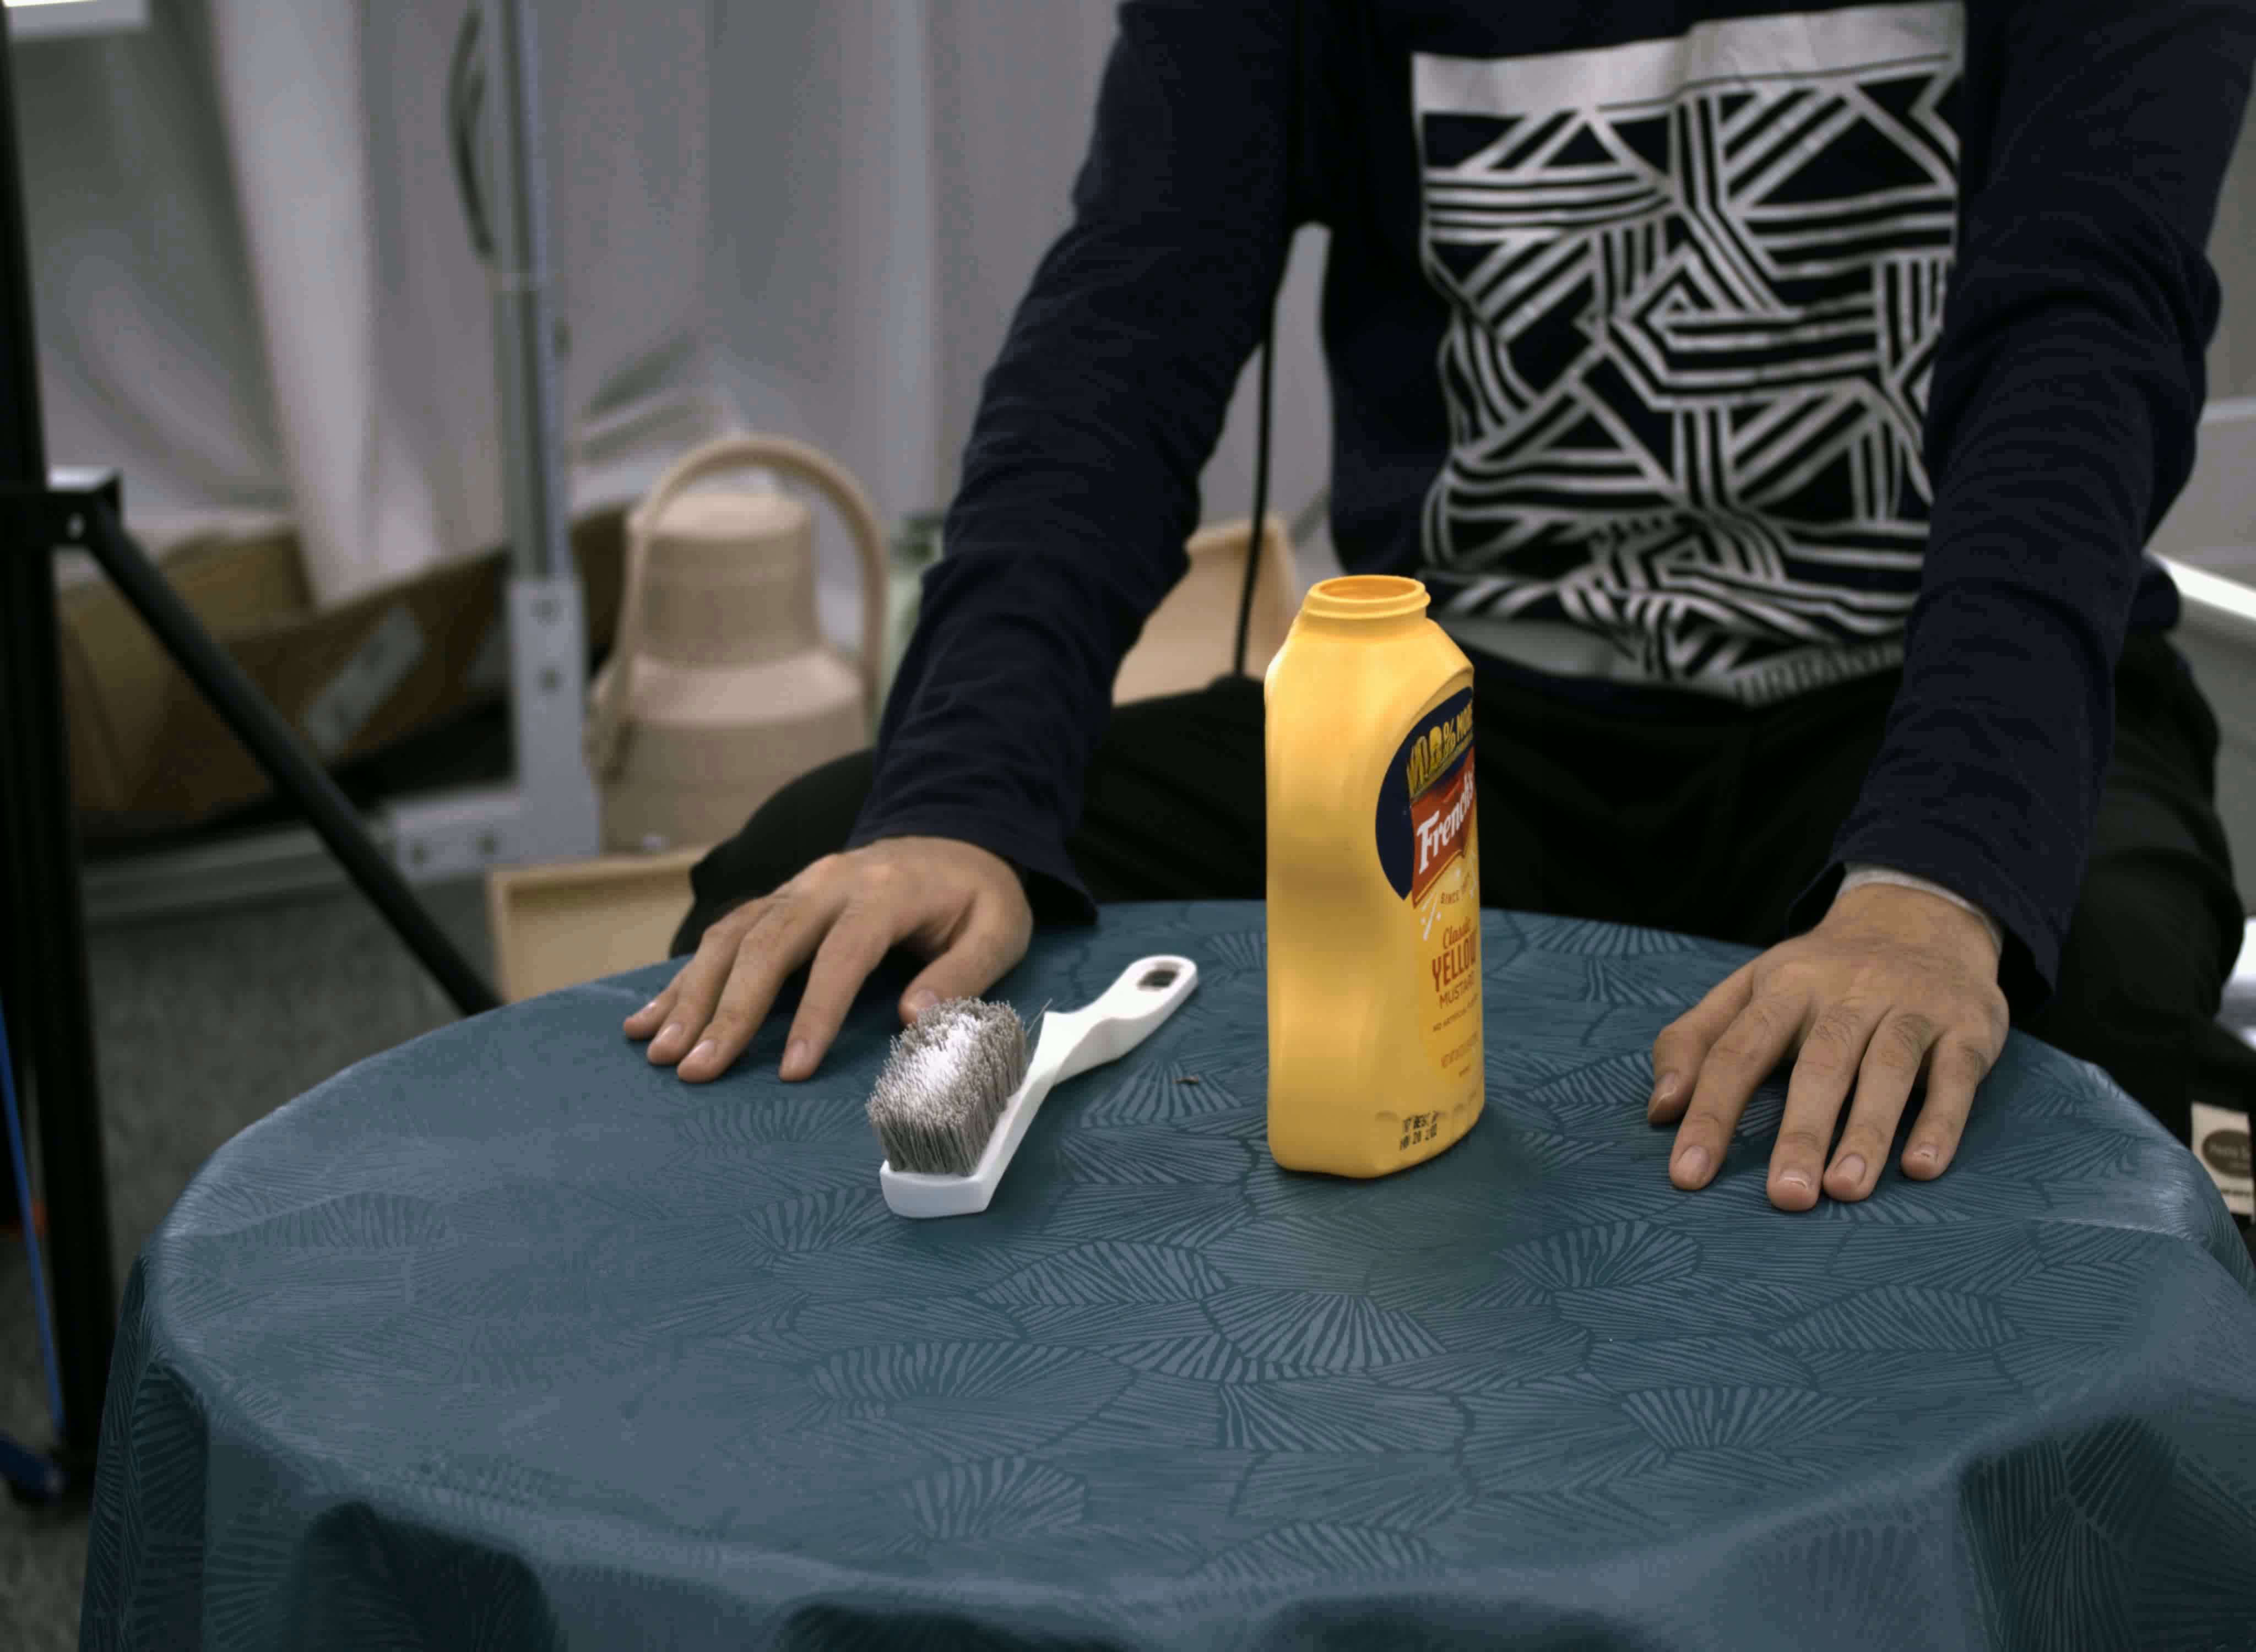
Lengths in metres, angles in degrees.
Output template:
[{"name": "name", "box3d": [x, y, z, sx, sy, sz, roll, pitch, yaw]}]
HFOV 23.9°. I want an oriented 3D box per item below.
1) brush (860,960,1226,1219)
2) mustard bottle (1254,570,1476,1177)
[{"name": "brush", "box3d": [-0.021, 0.061, 1.642, 0.035, 0.050, 0.240, 0, 16, 23]}, {"name": "mustard bottle", "box3d": [0.072, 0.011, 1.580, 0.060, 0.172, 0.097, 6, 15, 19]}]
